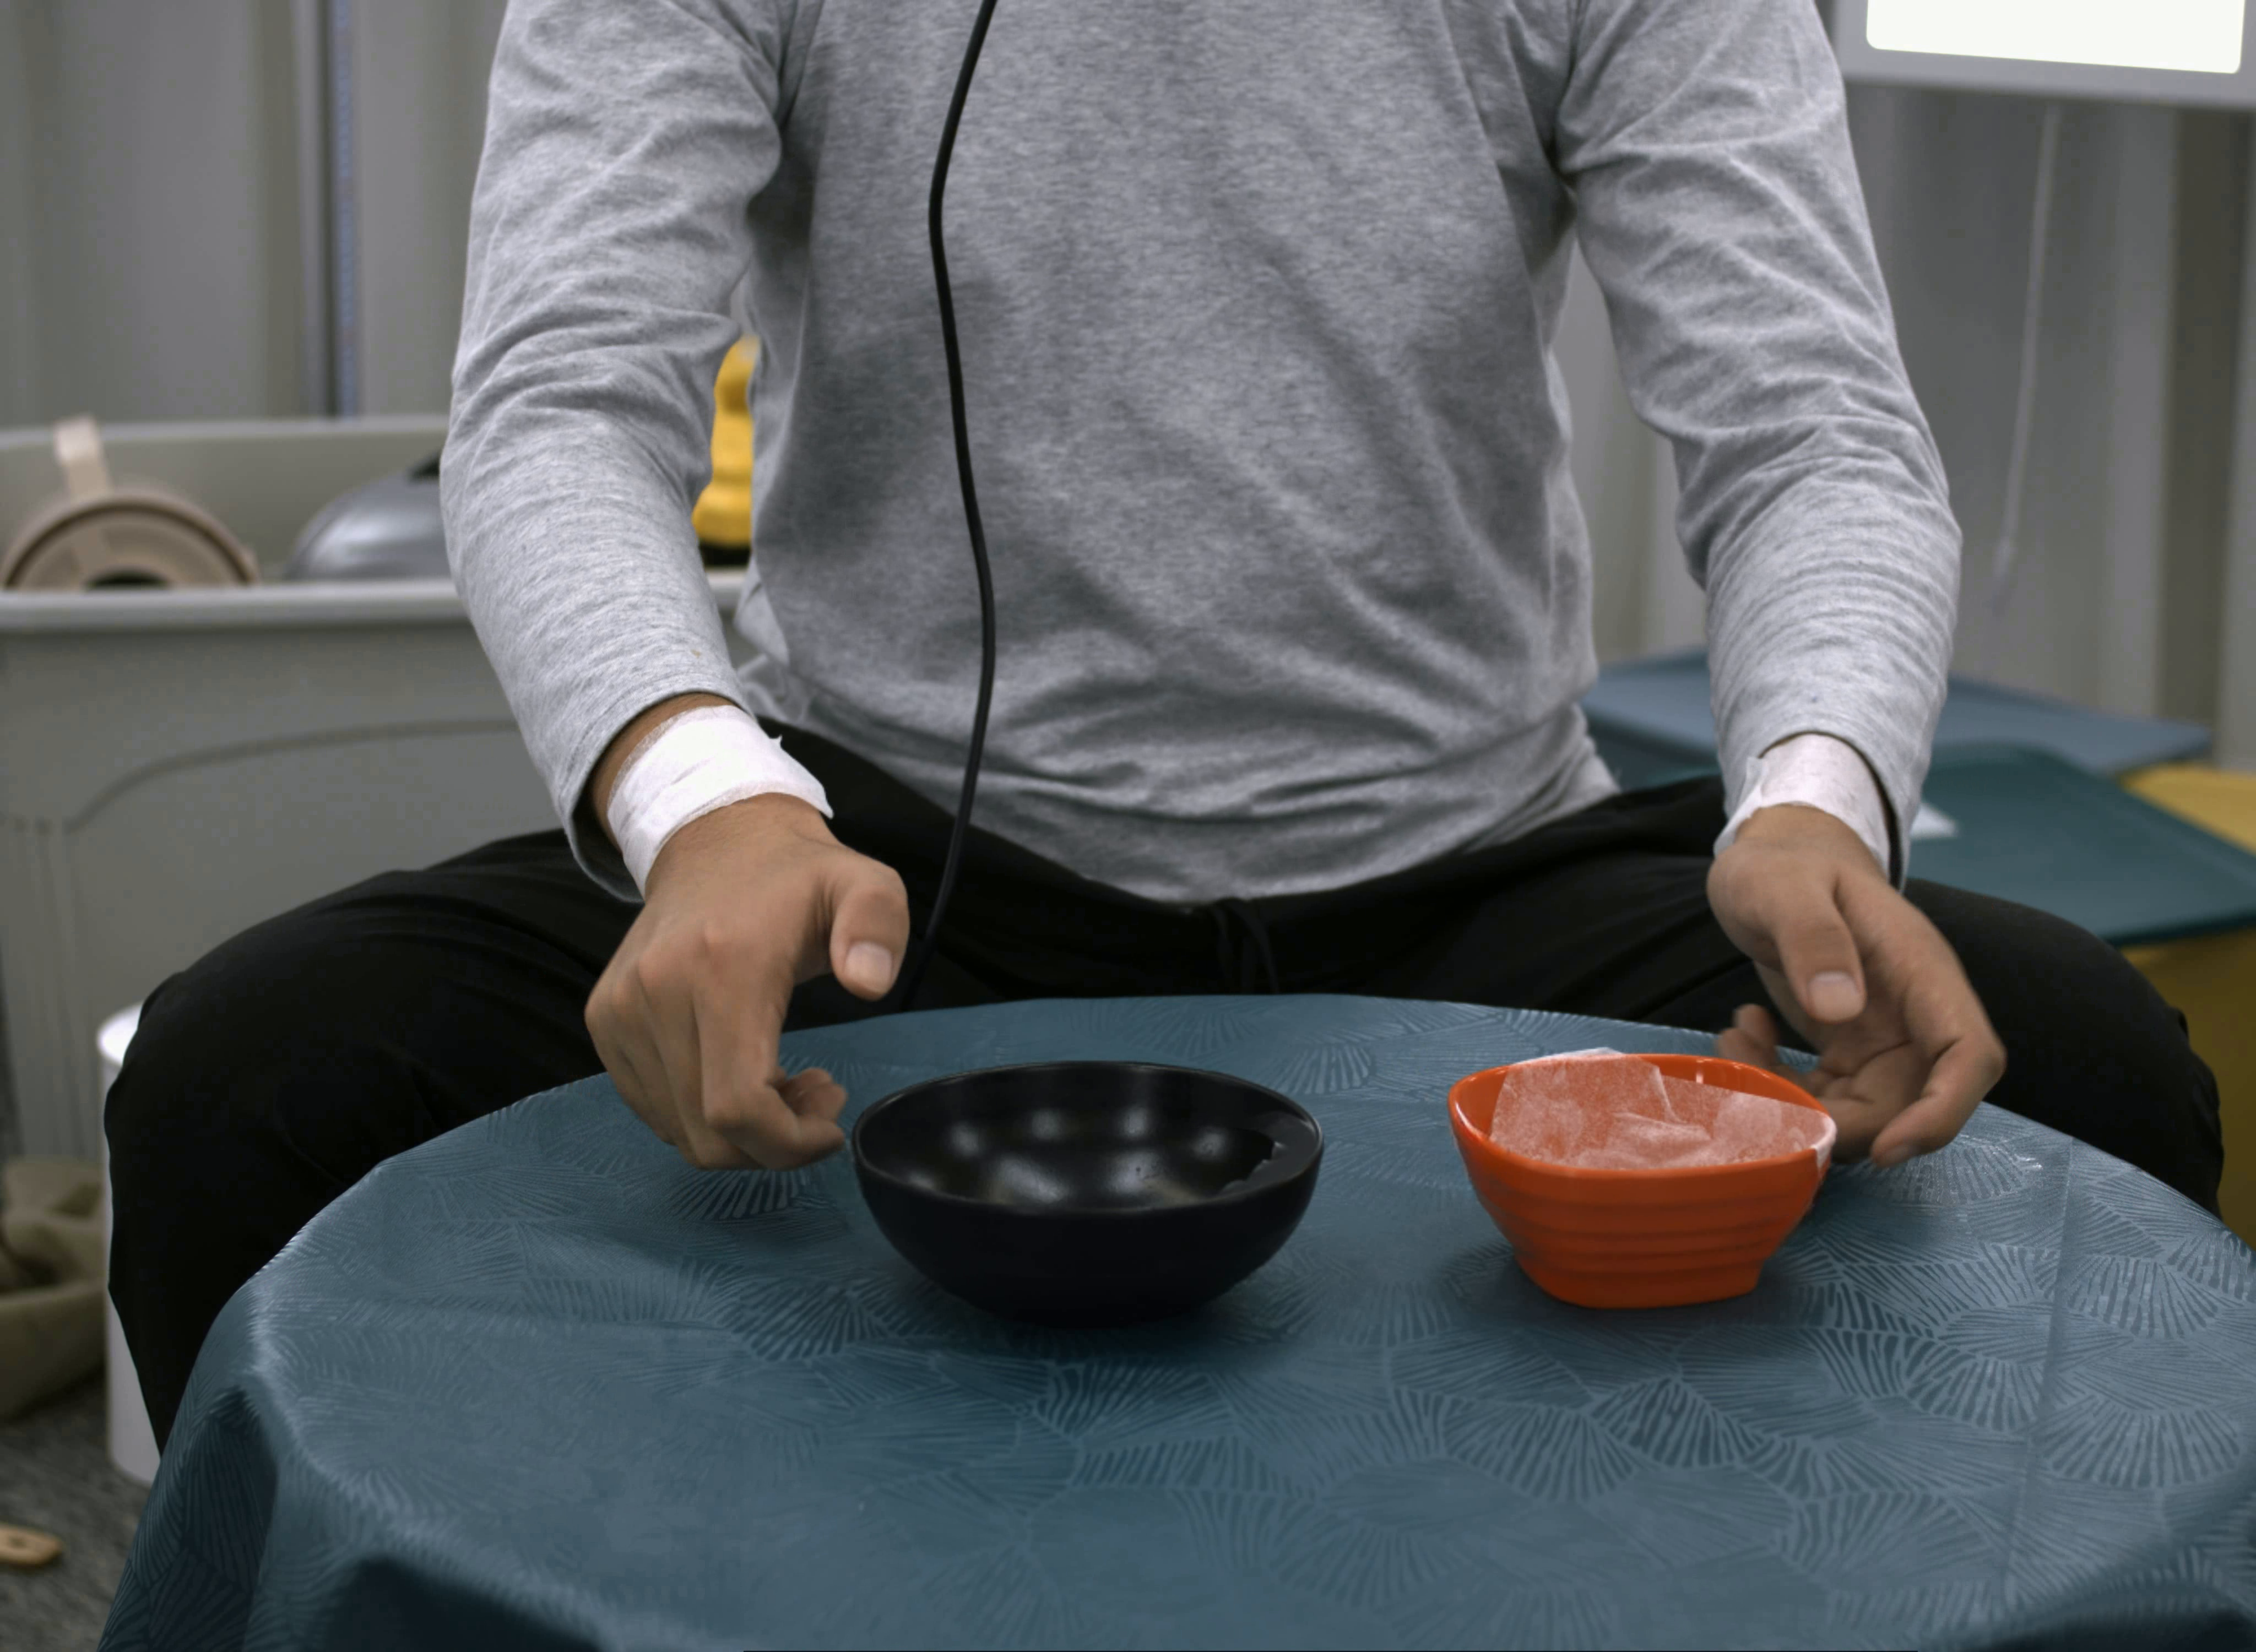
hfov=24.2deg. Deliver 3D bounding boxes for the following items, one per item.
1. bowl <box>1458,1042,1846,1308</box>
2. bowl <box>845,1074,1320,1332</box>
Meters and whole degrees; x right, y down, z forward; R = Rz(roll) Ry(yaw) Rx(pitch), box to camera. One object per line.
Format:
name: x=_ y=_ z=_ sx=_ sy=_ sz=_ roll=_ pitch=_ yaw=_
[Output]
bowl: x=0.153 y=0.105 z=1.554 sx=0.118 sy=0.052 sz=0.118 roll=0 pitch=18 yaw=1
bowl: x=-0.013 y=0.114 z=1.535 sx=0.139 sy=0.050 sz=0.139 roll=1 pitch=13 yaw=0
